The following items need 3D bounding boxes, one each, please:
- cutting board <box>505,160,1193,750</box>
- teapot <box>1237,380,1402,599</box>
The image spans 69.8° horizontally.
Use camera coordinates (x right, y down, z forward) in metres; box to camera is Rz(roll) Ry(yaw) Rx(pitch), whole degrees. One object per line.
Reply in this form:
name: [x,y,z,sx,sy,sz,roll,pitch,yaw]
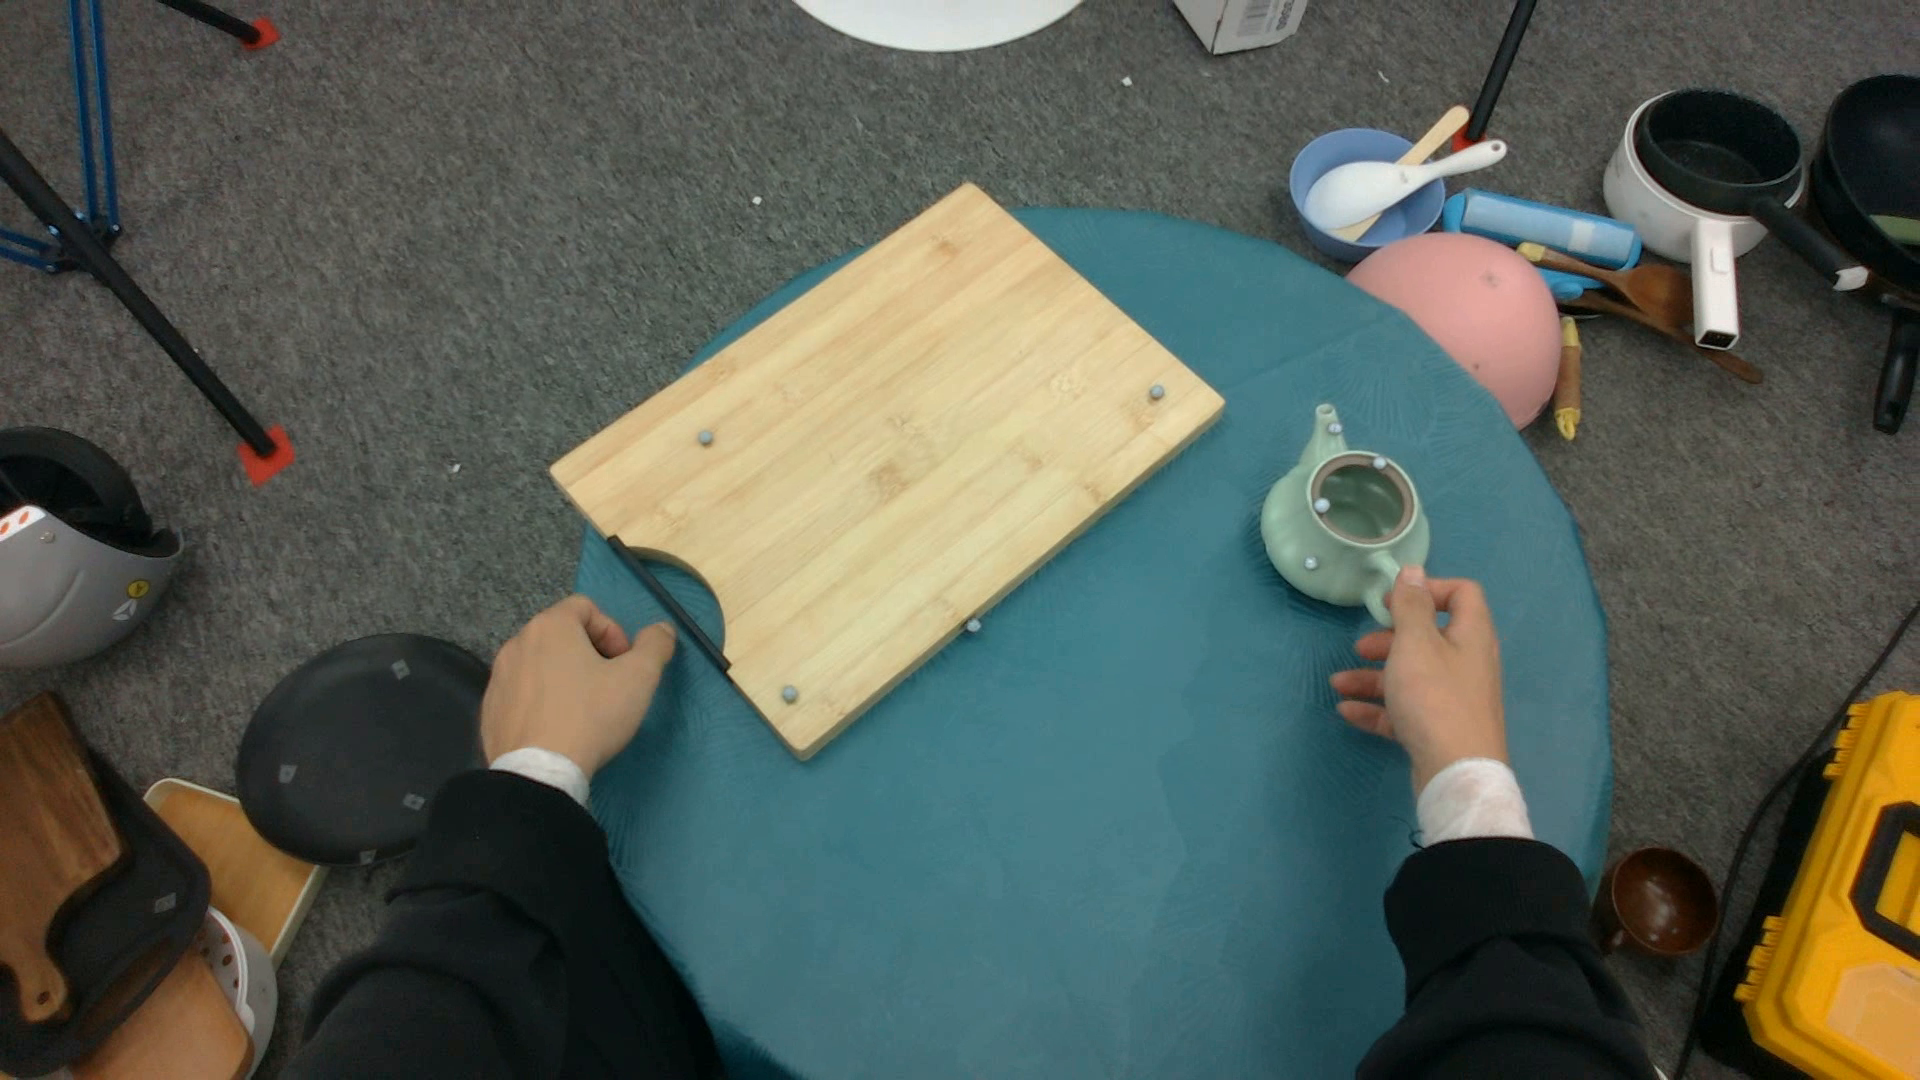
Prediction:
cutting board: [-0.060,-0.070,0.839,0.350,0.023,0.251,-40,70,-20]
teapot: [0.213,-0.023,0.798,0.096,0.061,0.137,-14,63,-10]
